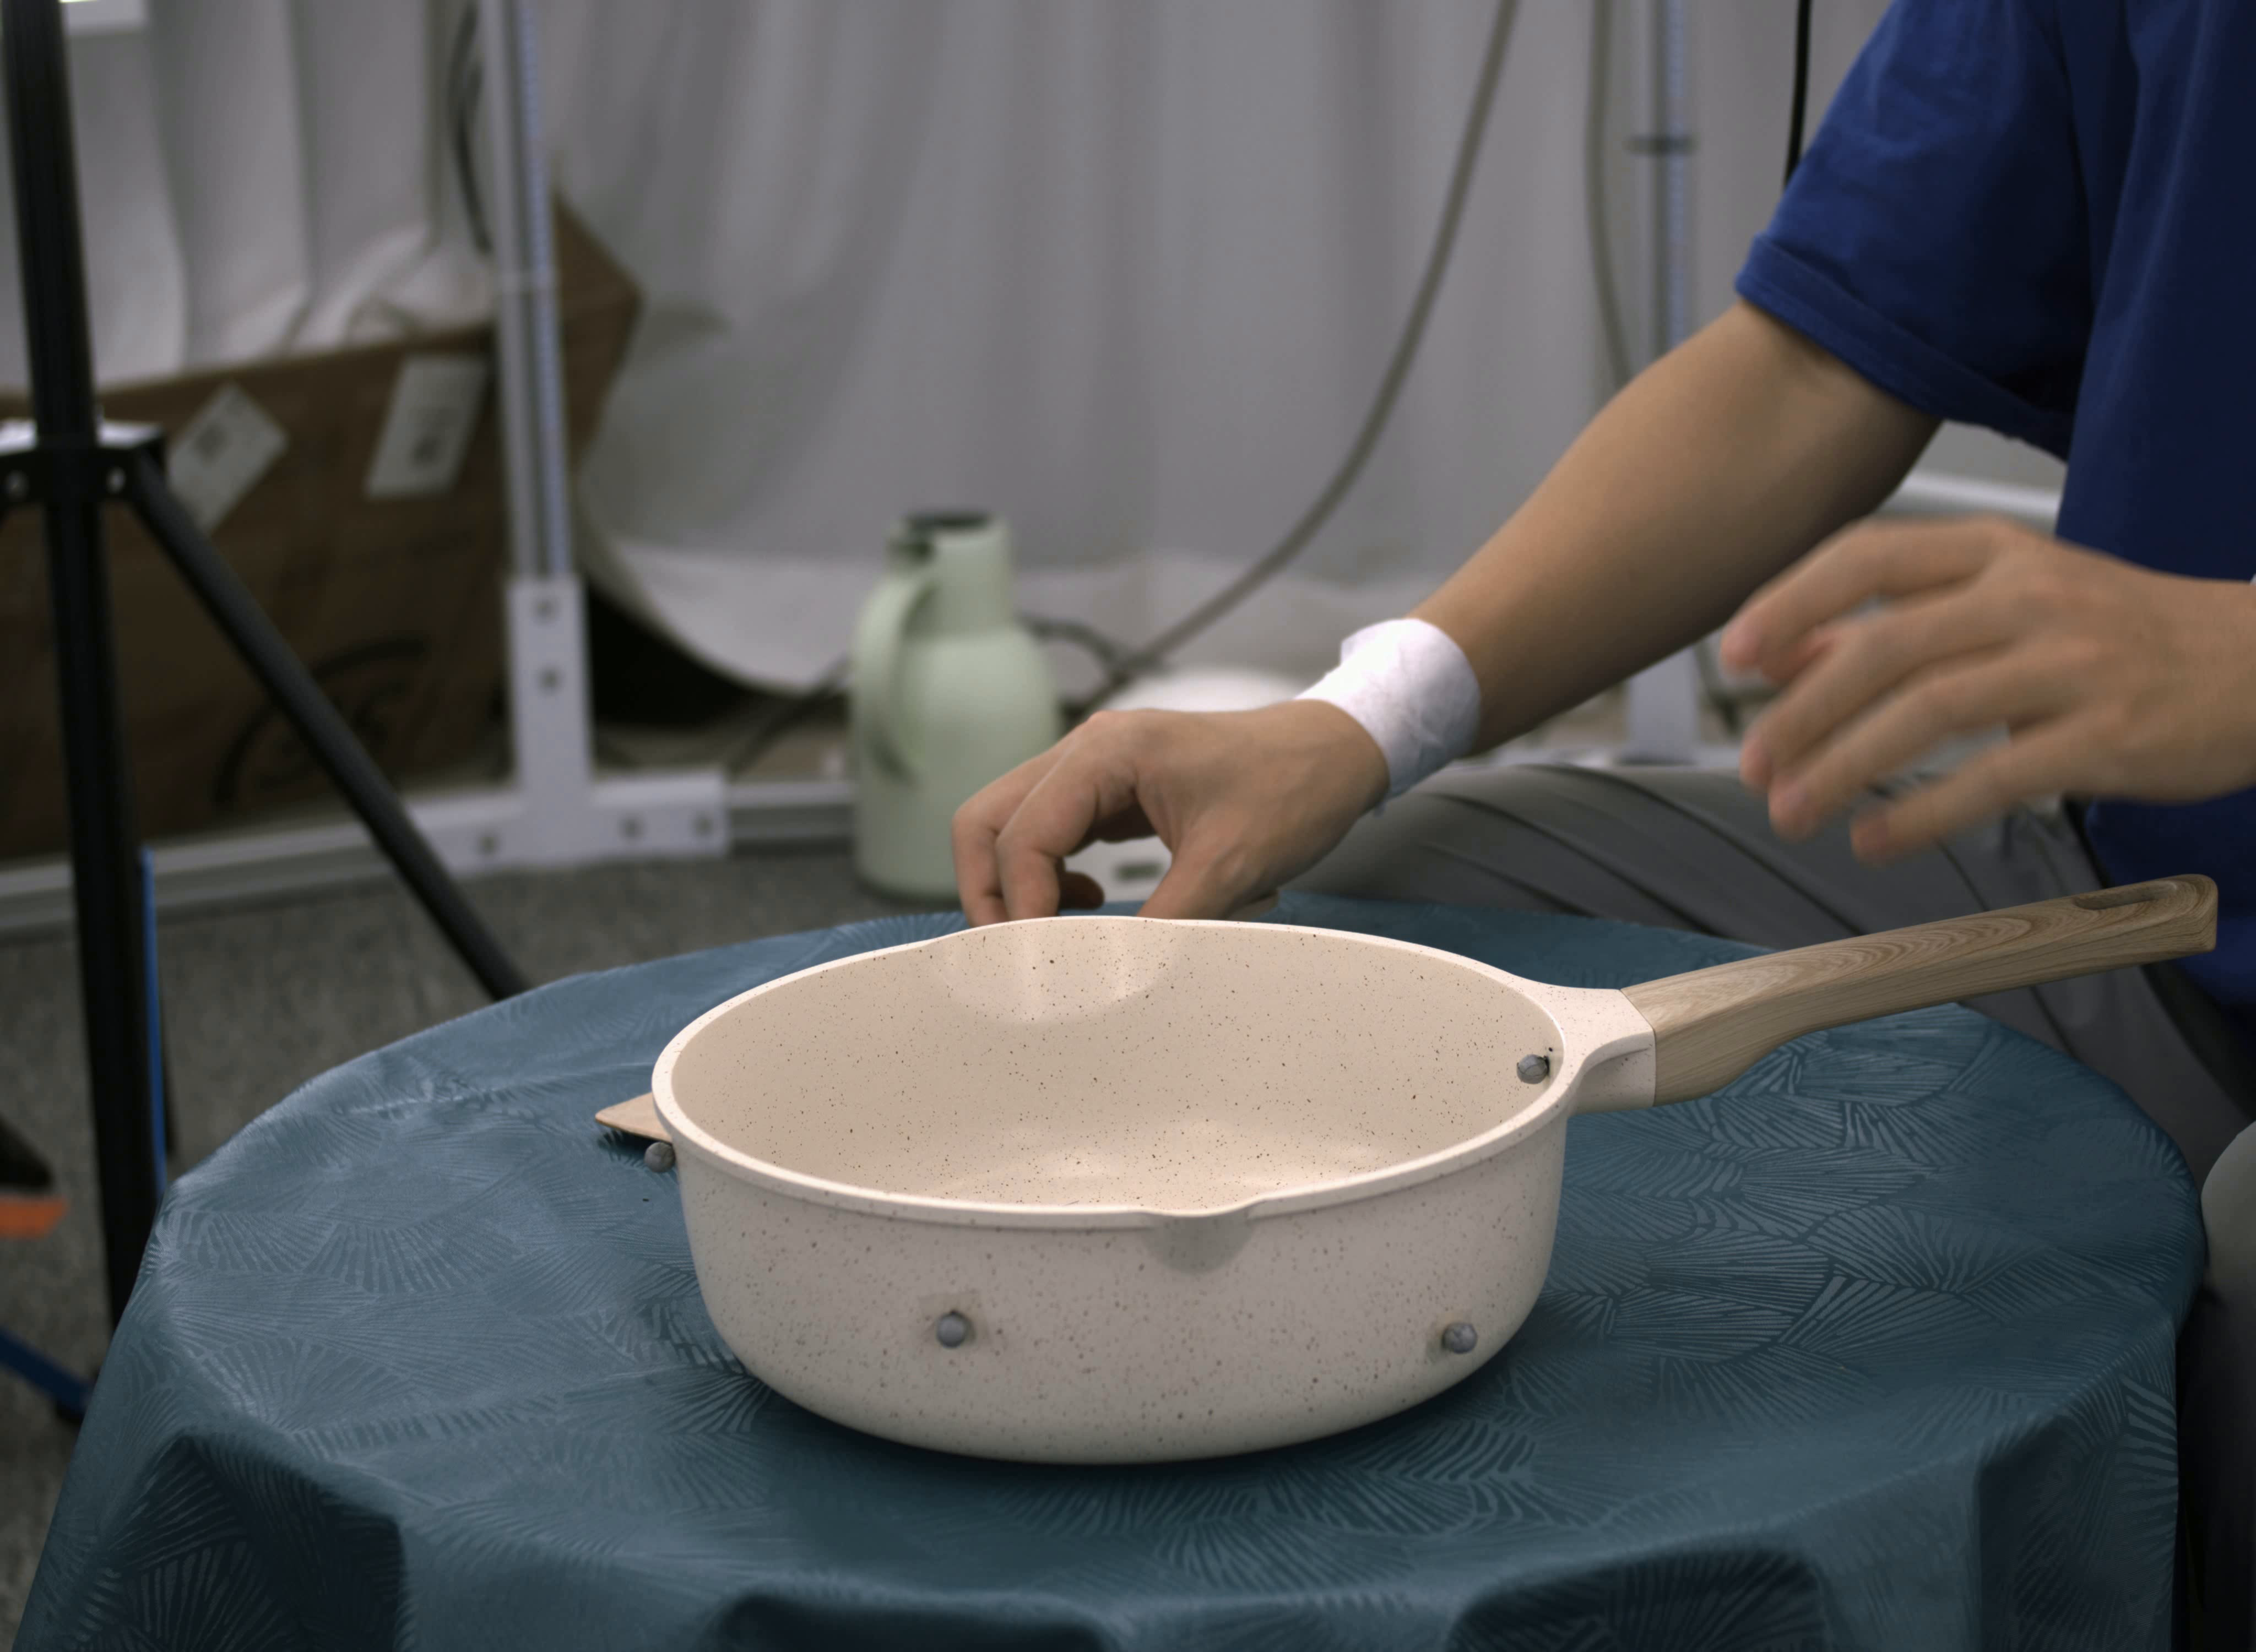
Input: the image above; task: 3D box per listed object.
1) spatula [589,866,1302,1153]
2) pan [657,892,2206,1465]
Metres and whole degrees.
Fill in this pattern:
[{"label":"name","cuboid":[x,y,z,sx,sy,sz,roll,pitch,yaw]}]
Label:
[{"label":"spatula","cuboid":[-0.046,0.057,1.714,0.074,0.010,0.287,13,25,43]},{"label":"pan","cuboid":[0.090,0.087,1.440,0.430,0.102,0.266,-4,14,-8]}]
